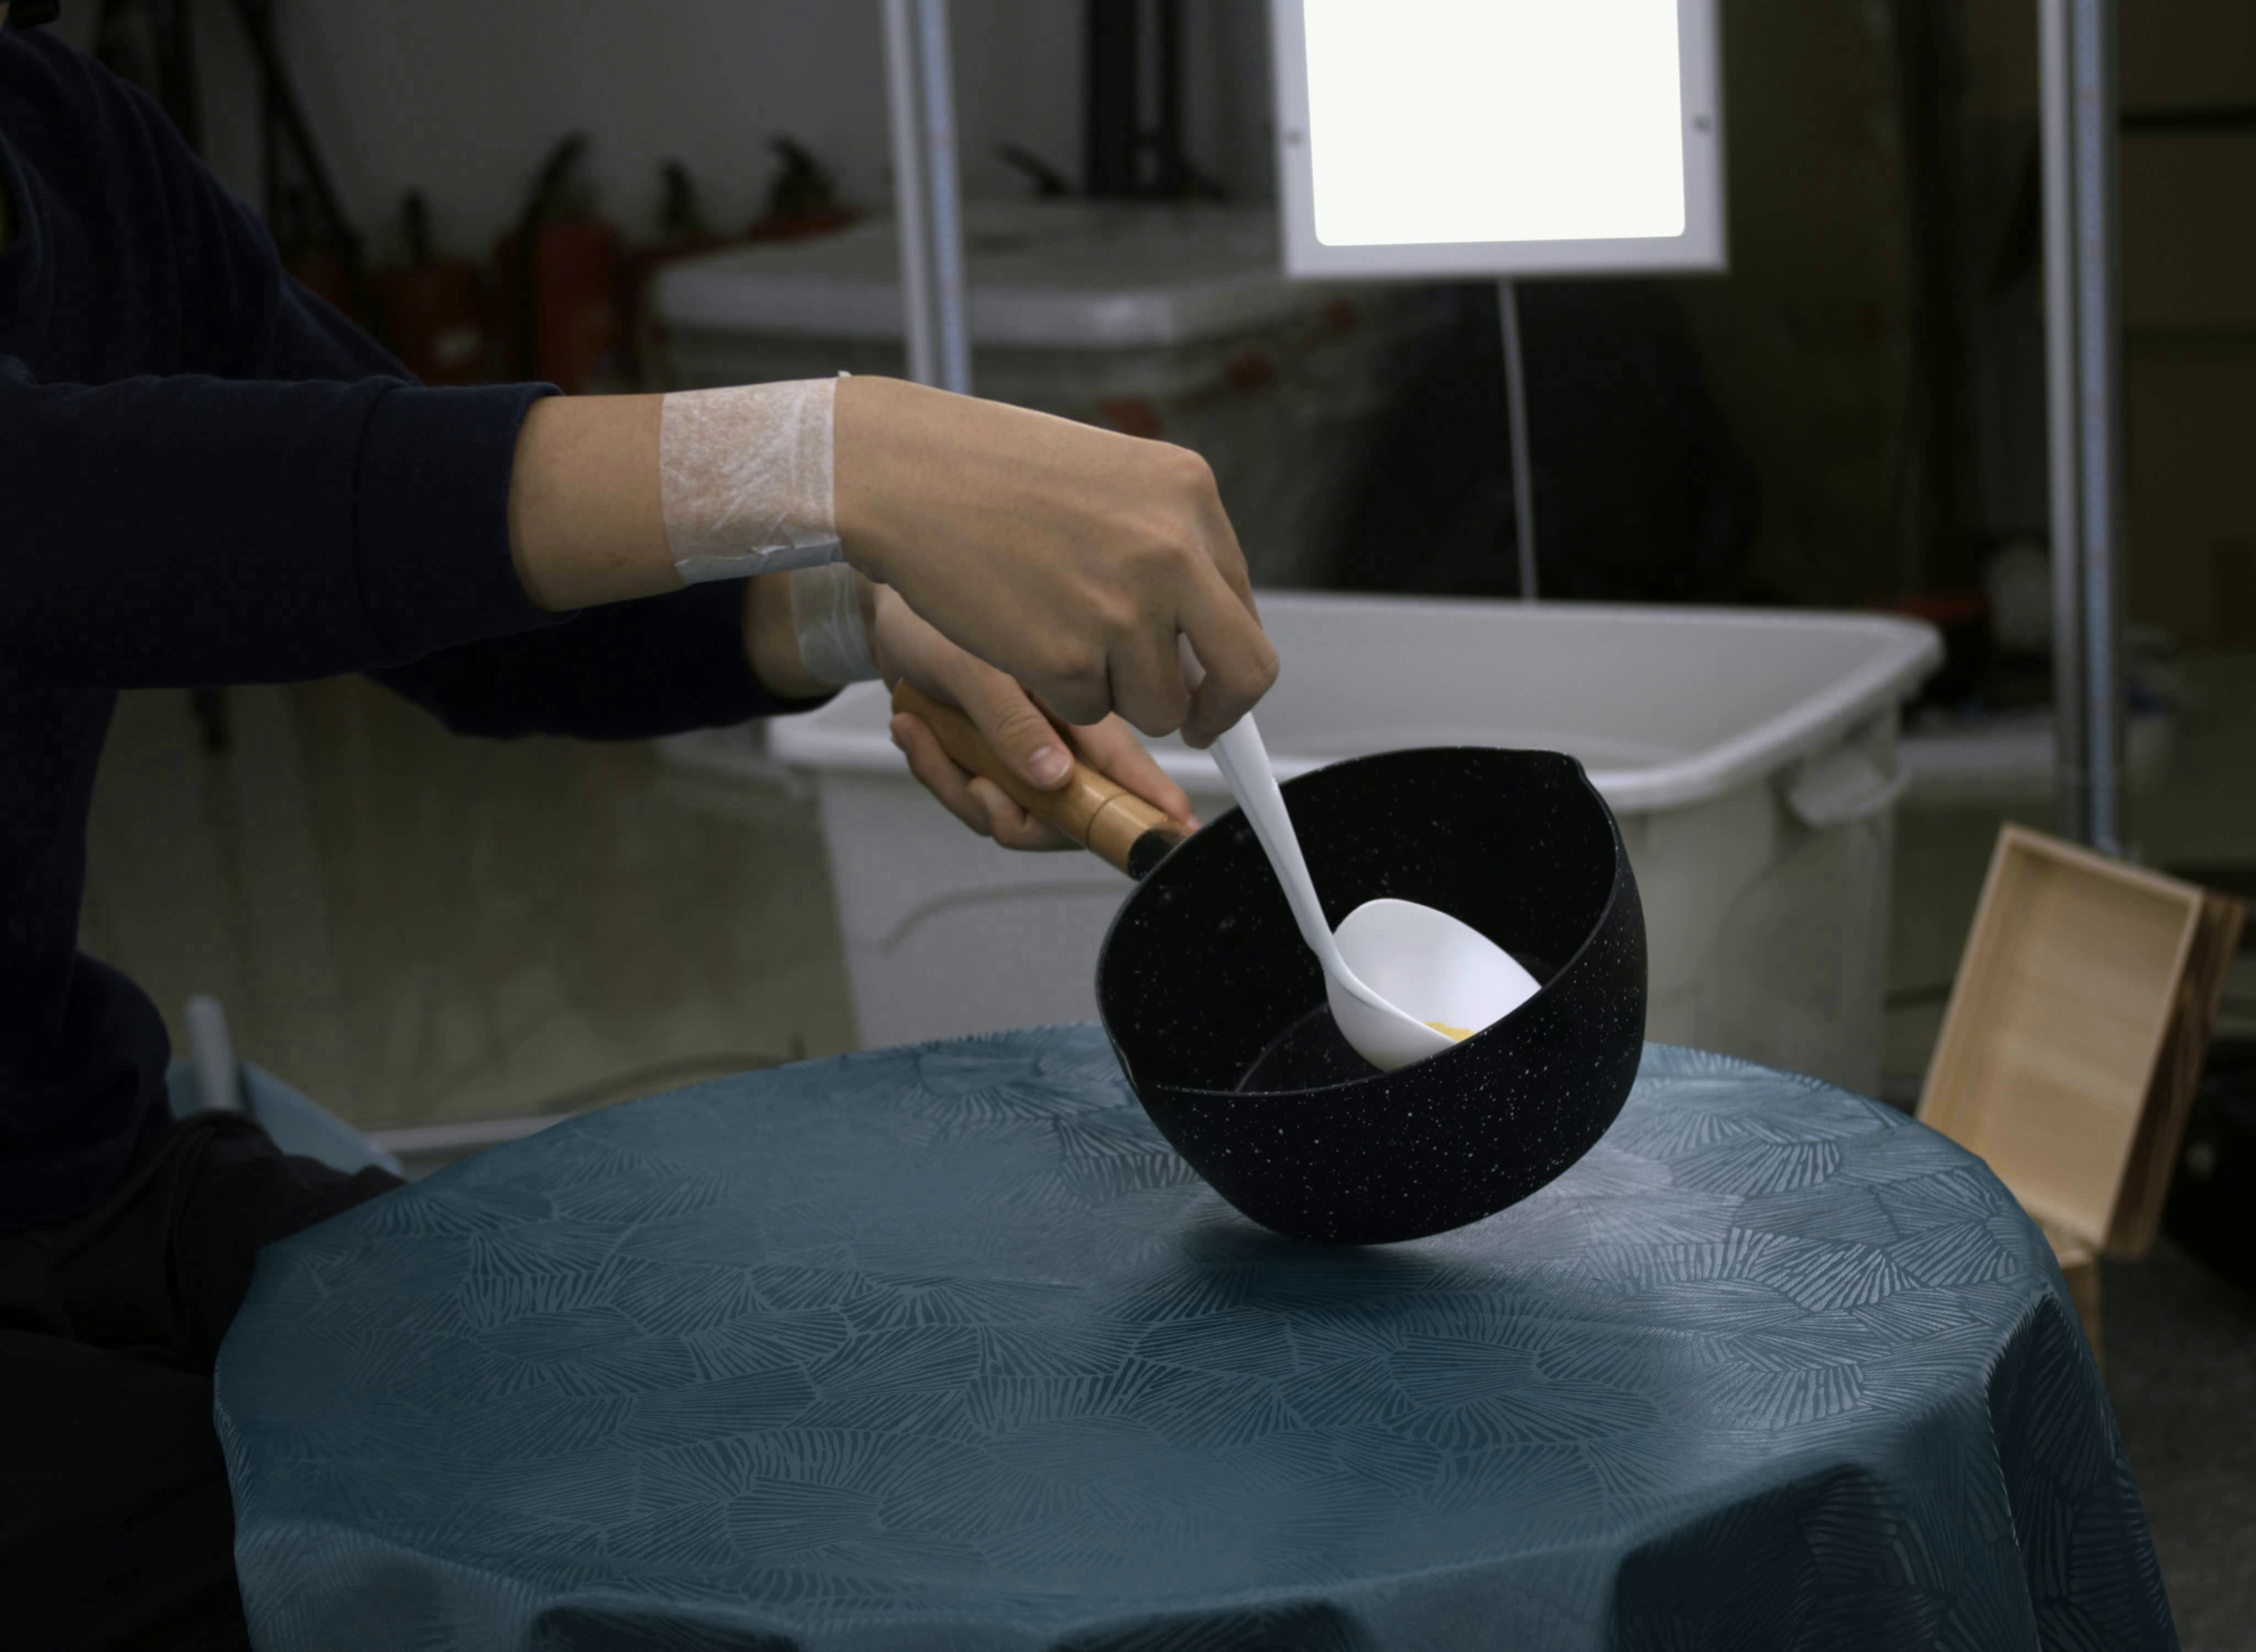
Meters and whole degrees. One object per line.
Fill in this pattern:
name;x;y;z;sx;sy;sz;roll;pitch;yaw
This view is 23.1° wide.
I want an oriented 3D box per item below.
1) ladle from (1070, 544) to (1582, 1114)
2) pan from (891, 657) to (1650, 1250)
ladle;0.065;0.000;1.705;0.070;0.290;0.091;-28;49;4
pan;0.036;0.031;1.902;0.204;0.108;0.349;-39;37;-22
